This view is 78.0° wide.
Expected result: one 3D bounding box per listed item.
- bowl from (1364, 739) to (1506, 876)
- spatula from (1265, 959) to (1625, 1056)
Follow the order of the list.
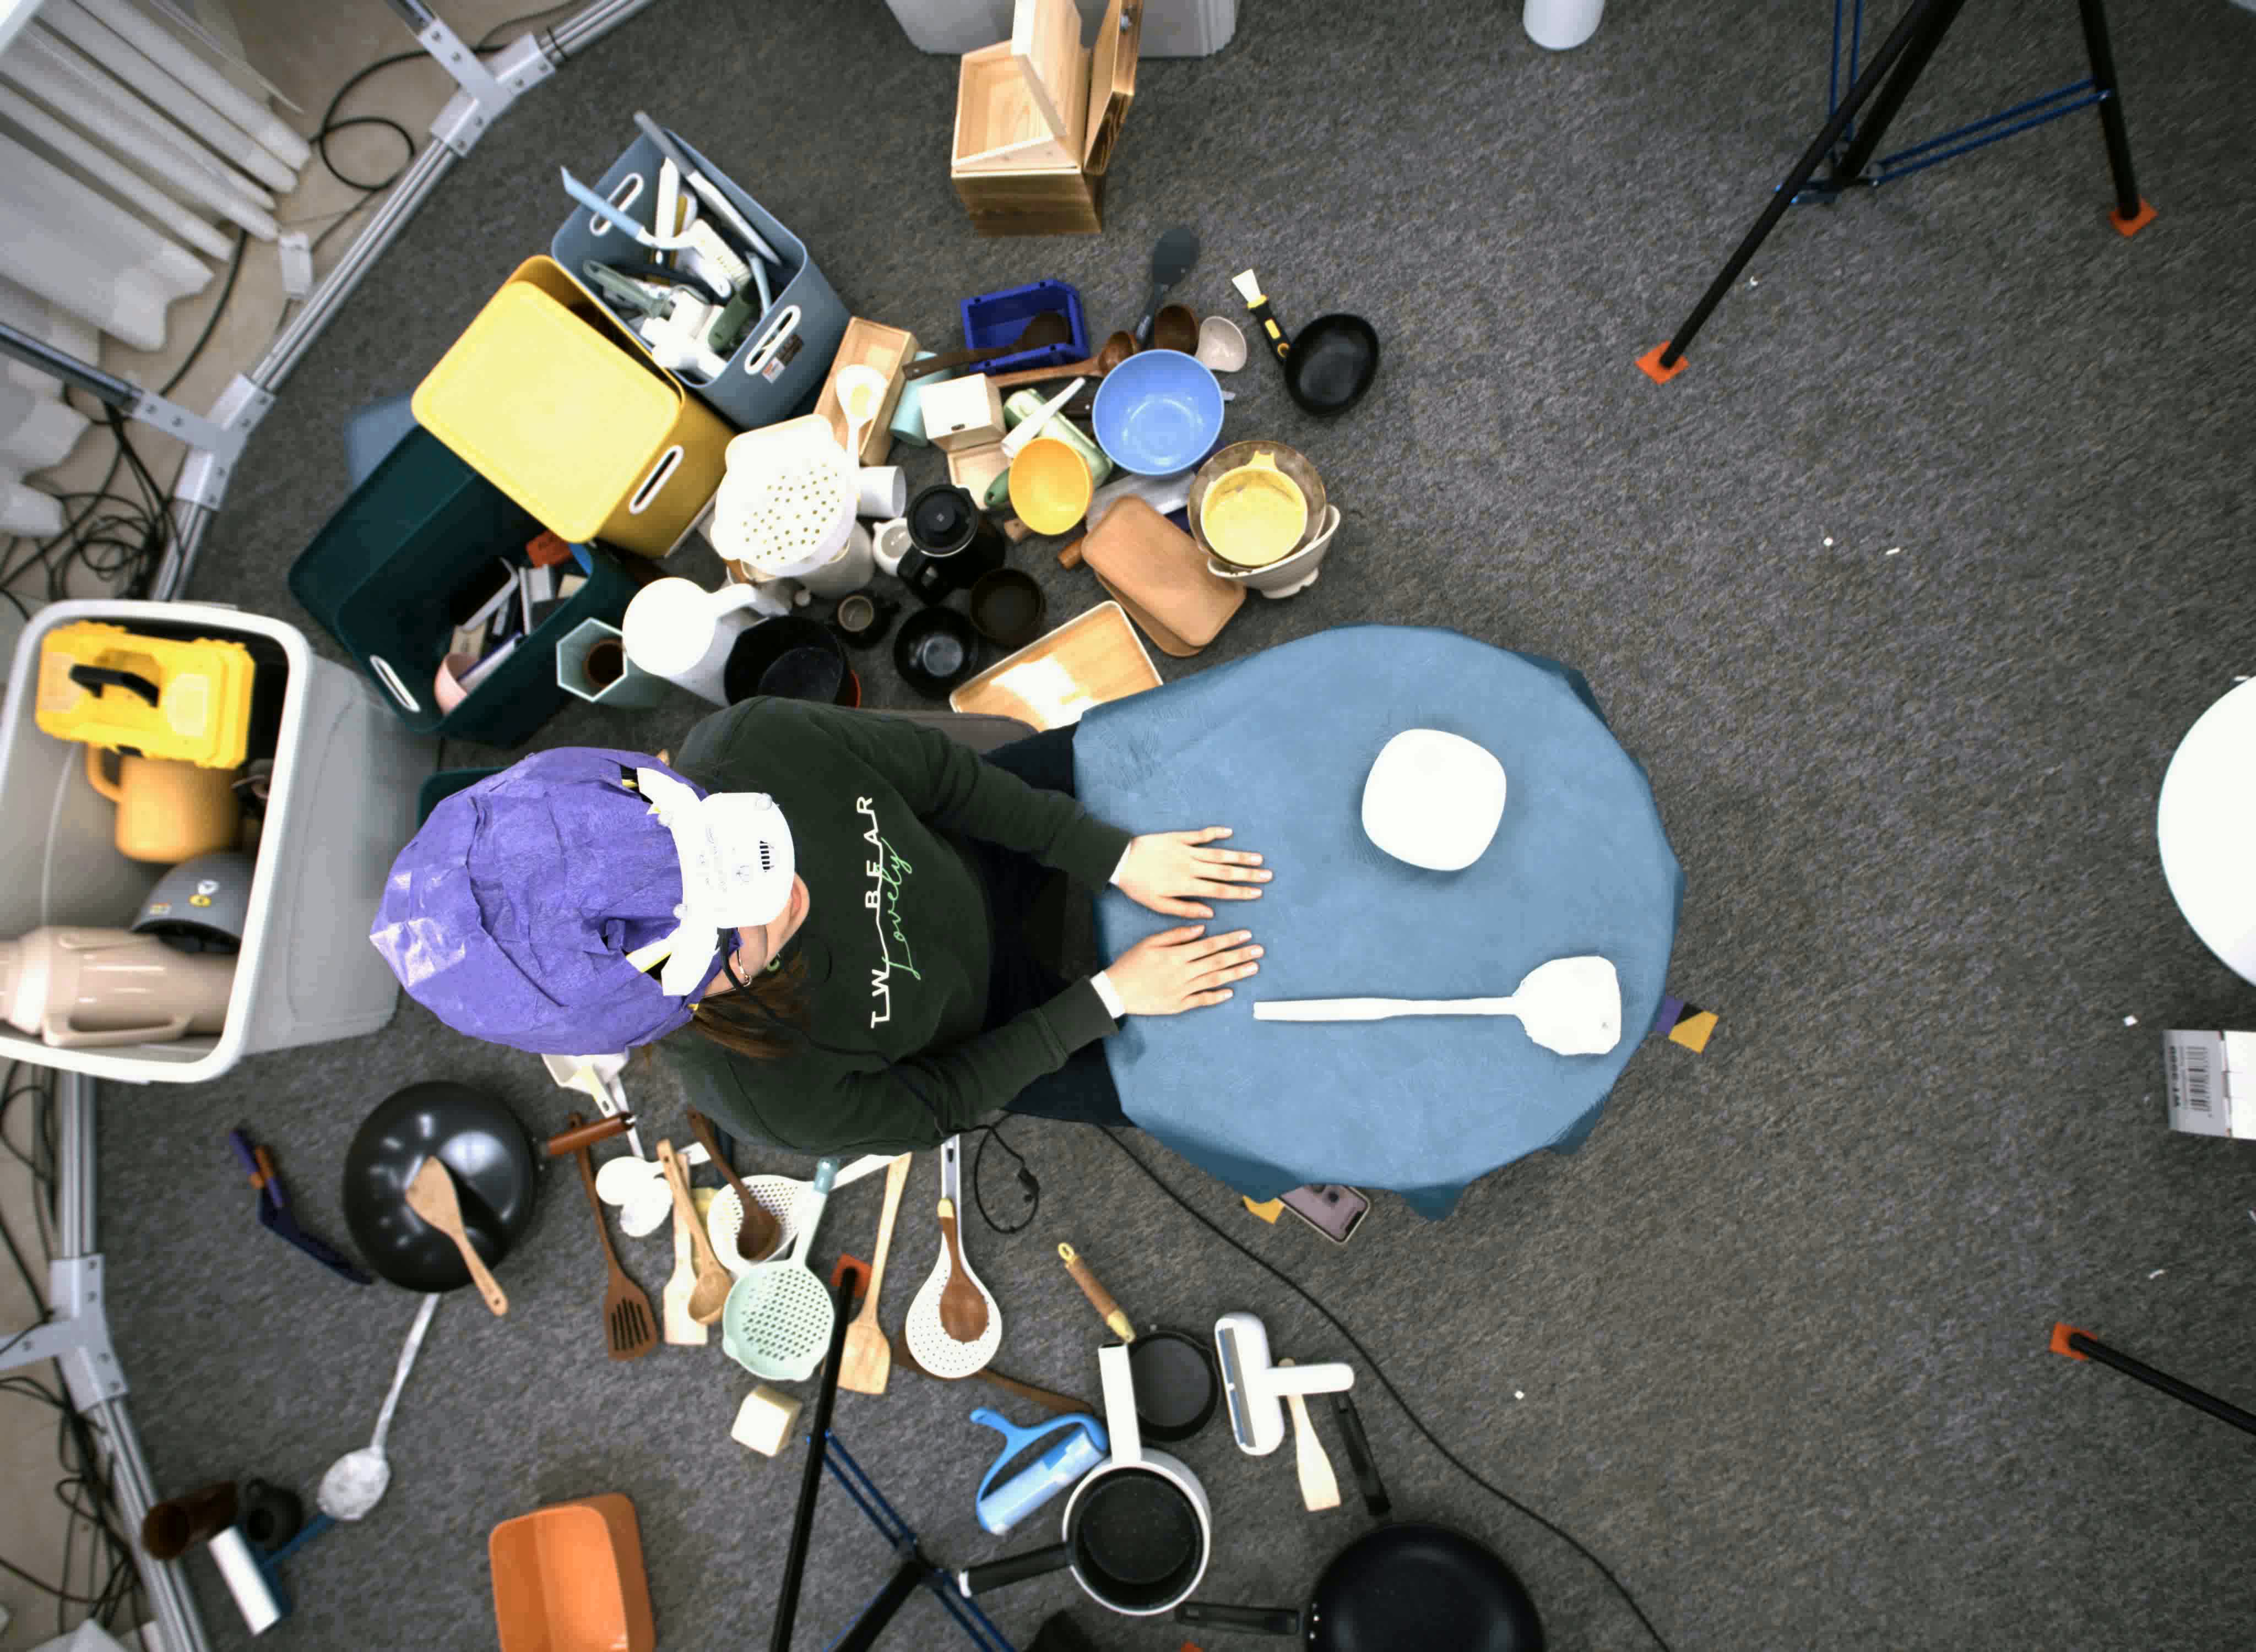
[{"bbox_3d":[0.321,-0.018,1.439,0.152,0.059,0.150,-2,83,14],"label":"bowl"},{"bbox_3d":[0.322,0.184,1.428,0.366,0.045,0.098,-1,87,10],"label":"spatula"}]
